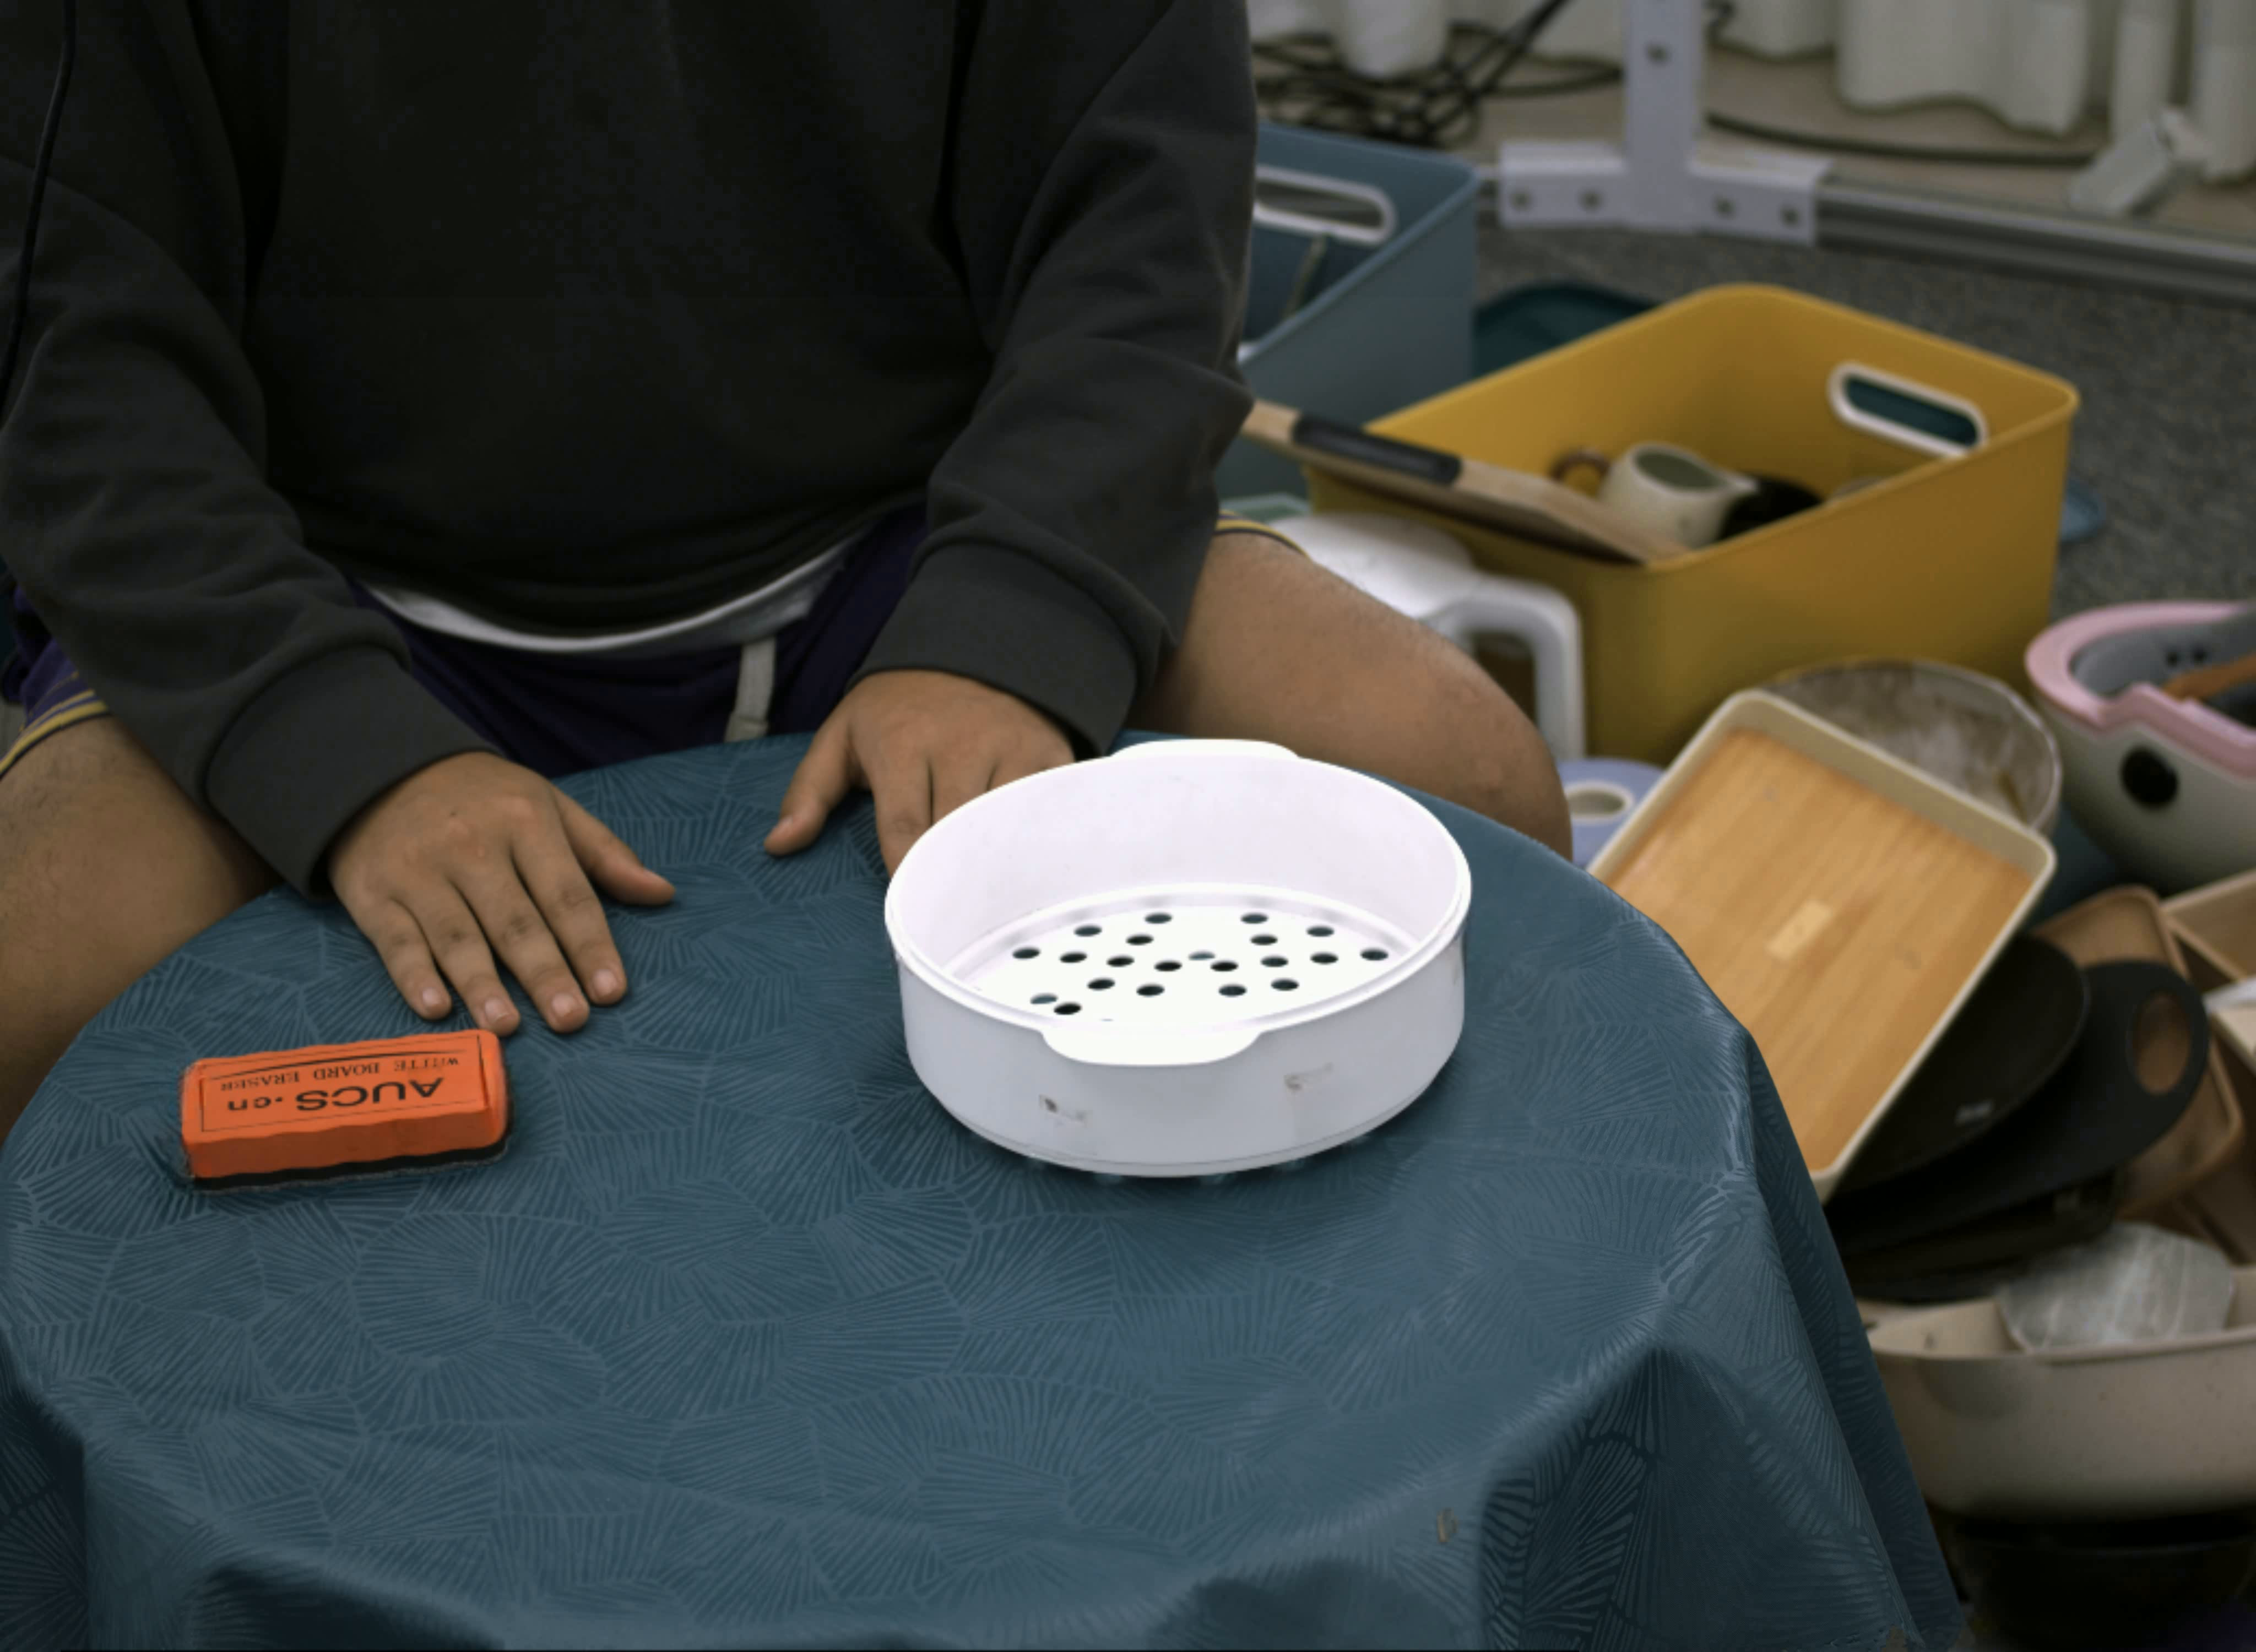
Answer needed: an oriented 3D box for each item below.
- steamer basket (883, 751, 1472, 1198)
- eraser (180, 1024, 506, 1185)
[{"bbox_3d":[0.018,0.052,1.926,0.201,0.068,0.234,-1,28,6],"label":"steamer basket"},{"bbox_3d":[-0.266,0.095,1.907,0.108,0.022,0.059,-8,22,-6],"label":"eraser"}]
